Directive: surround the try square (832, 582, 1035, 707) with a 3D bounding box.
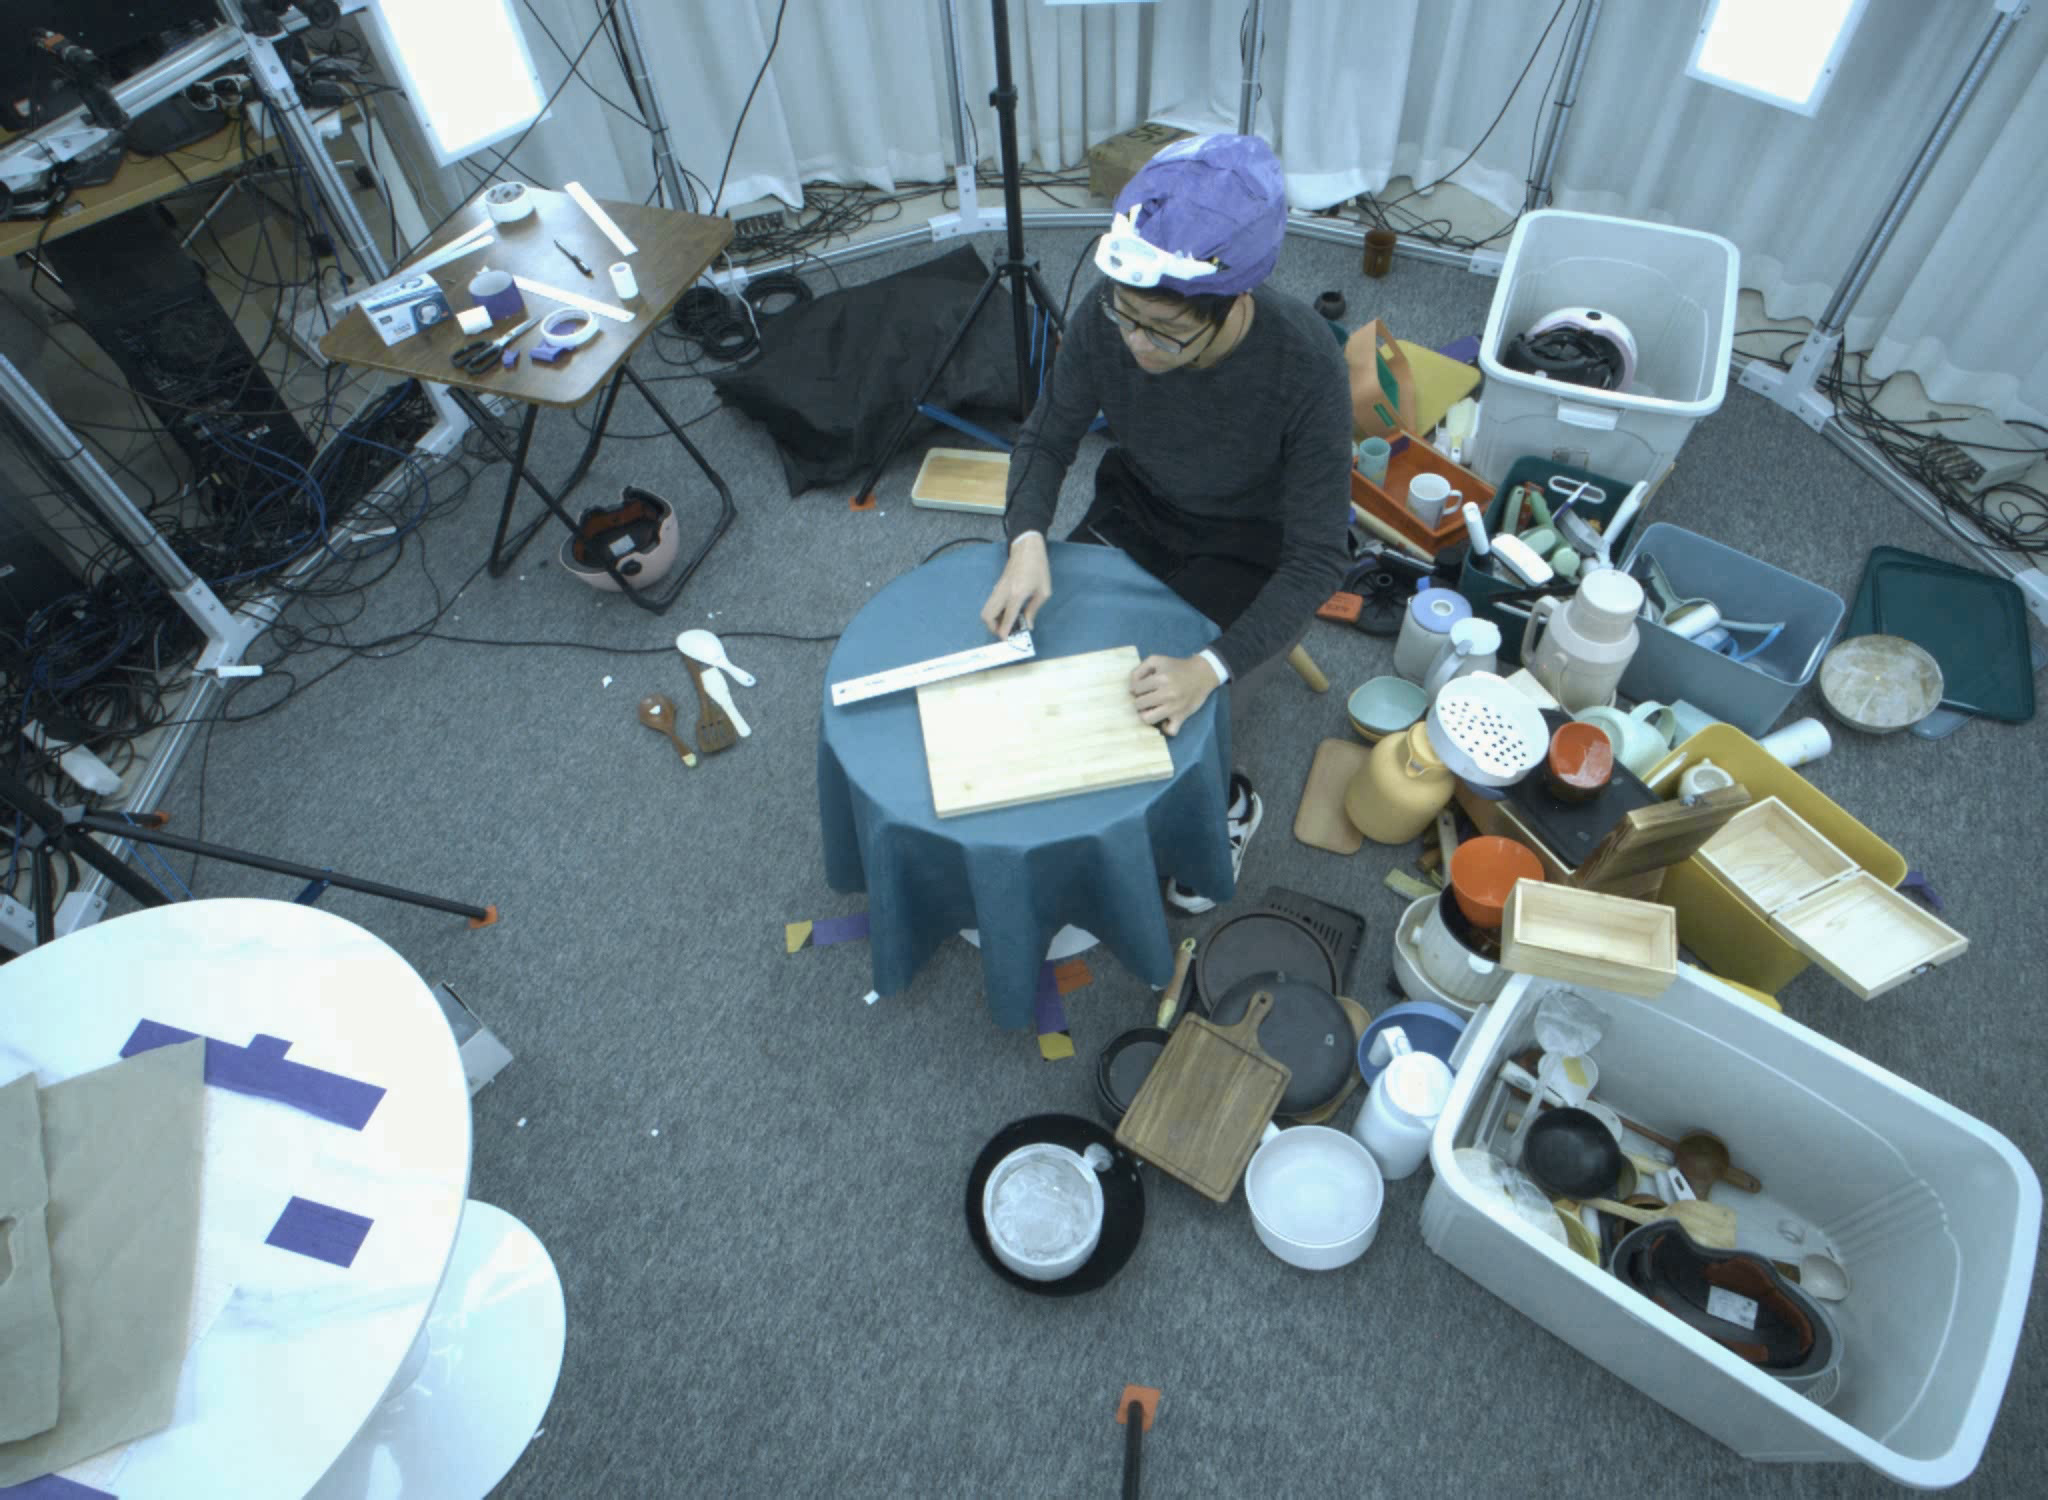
[{"bbox_3d":[-0.146,-0.162,1.868,0.313,0.016,0.150,-14,54,-2],"label":"try square"}]

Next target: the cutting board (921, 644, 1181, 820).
[{"bbox_3d":[0.030,-0.032,1.799,0.350,0.024,0.247,-11,56,-5],"label":"cutting board"}]
